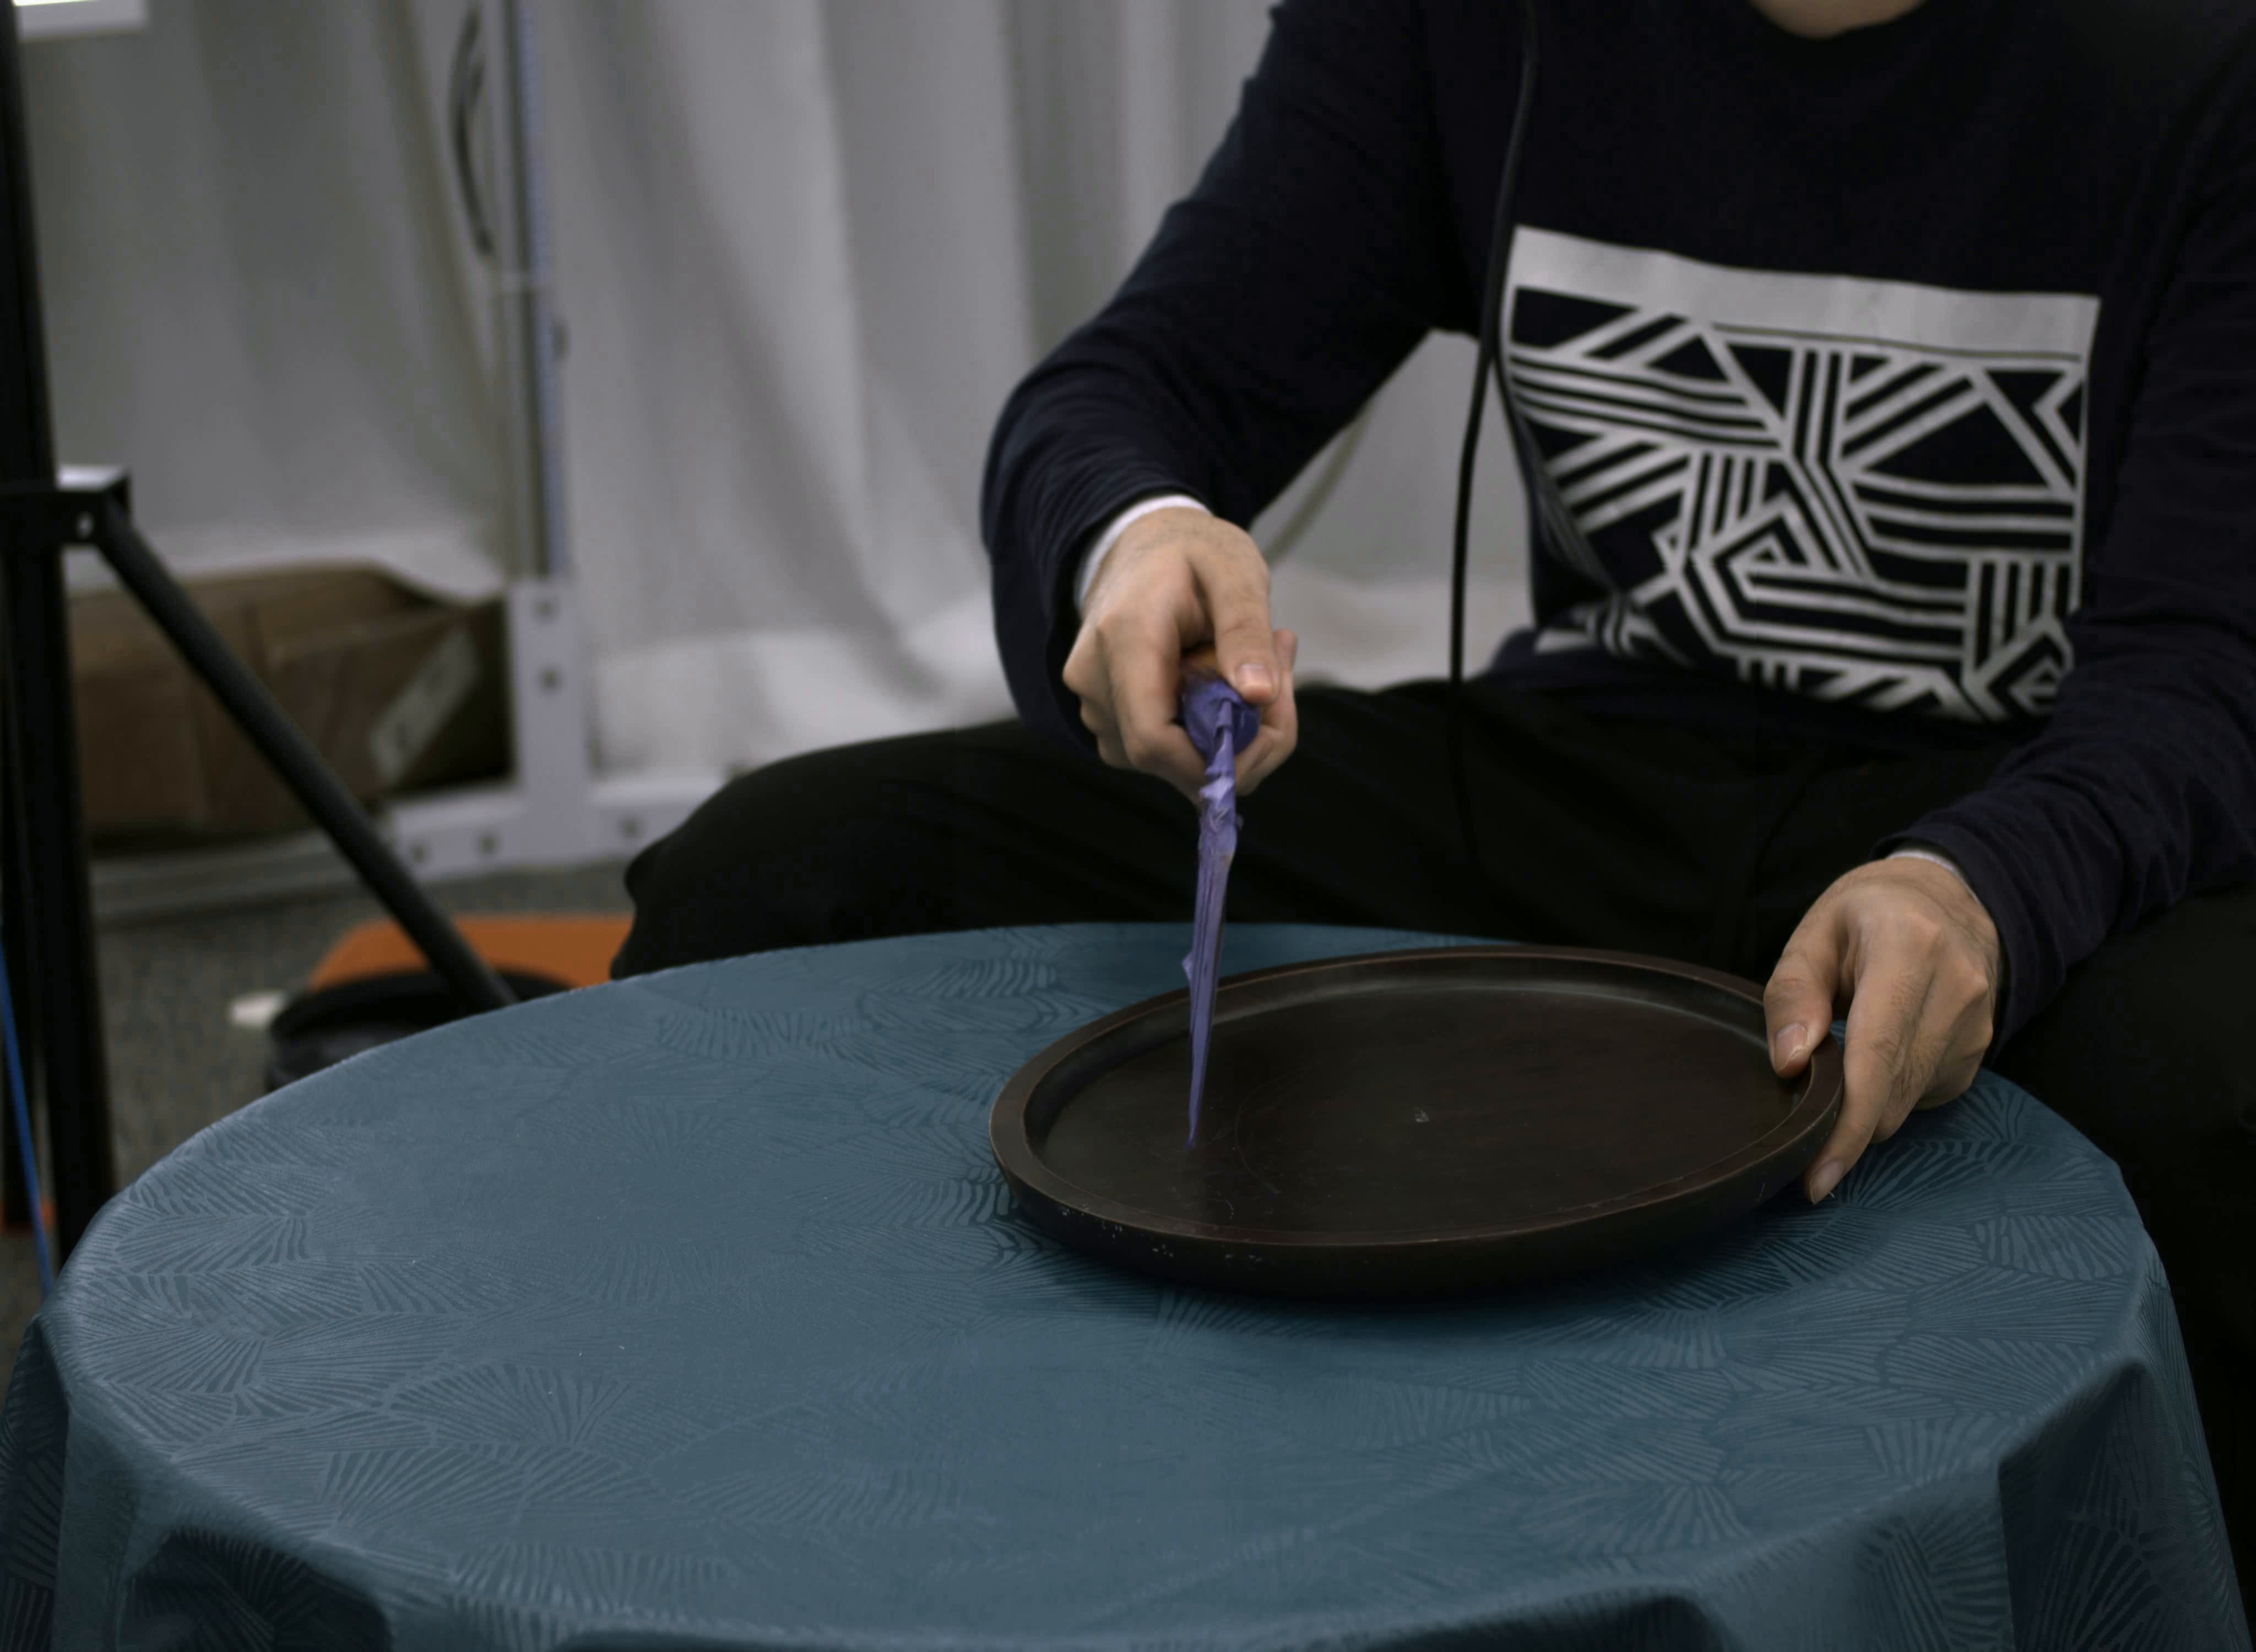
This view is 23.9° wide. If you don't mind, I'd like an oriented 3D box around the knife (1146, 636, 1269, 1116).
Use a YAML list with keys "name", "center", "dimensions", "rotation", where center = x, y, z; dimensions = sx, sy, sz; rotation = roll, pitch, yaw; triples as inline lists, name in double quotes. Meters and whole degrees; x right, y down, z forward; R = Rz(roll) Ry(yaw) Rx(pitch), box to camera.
- name: "knife"
  center: [0.020, 0.012, 1.616]
  dimensions: [0.032, 0.104, 0.315]
  rotation: [9, 12, 1]

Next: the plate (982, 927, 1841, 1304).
- name: "plate"
  center: [0.083, 0.086, 1.560]
  dimensions: [0.254, 0.029, 0.256]
  rotation: [-7, 18, 1]
